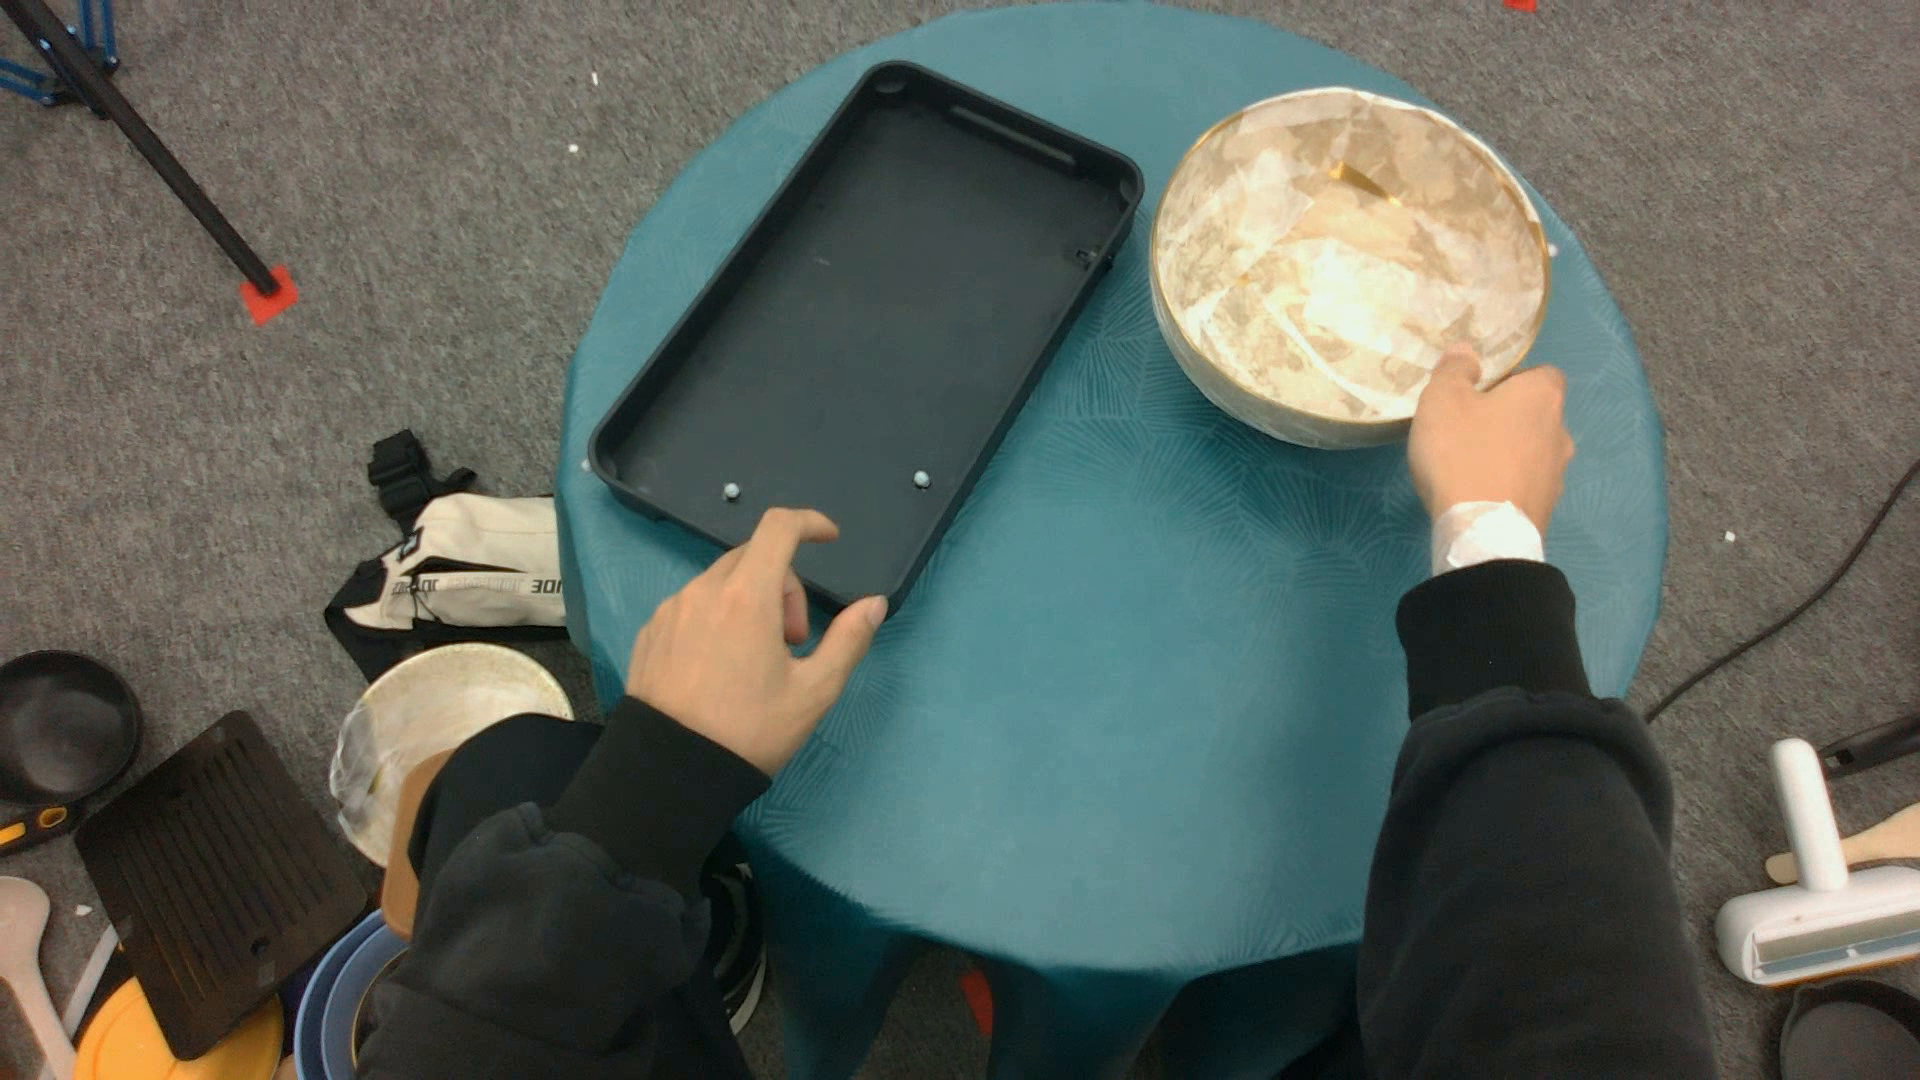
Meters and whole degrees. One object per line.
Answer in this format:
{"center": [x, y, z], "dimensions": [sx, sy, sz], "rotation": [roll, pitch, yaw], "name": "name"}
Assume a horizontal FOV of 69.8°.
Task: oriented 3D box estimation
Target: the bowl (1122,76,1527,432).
{"center": [0.180, -0.137, 0.736], "dimensions": [0.215, 0.094, 0.215], "rotation": [1, 66, -3], "name": "bowl"}

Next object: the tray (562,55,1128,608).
{"center": [-0.054, -0.127, 0.760], "dimensions": [0.184, 0.037, 0.319], "rotation": [28, 66, 12], "name": "tray"}
